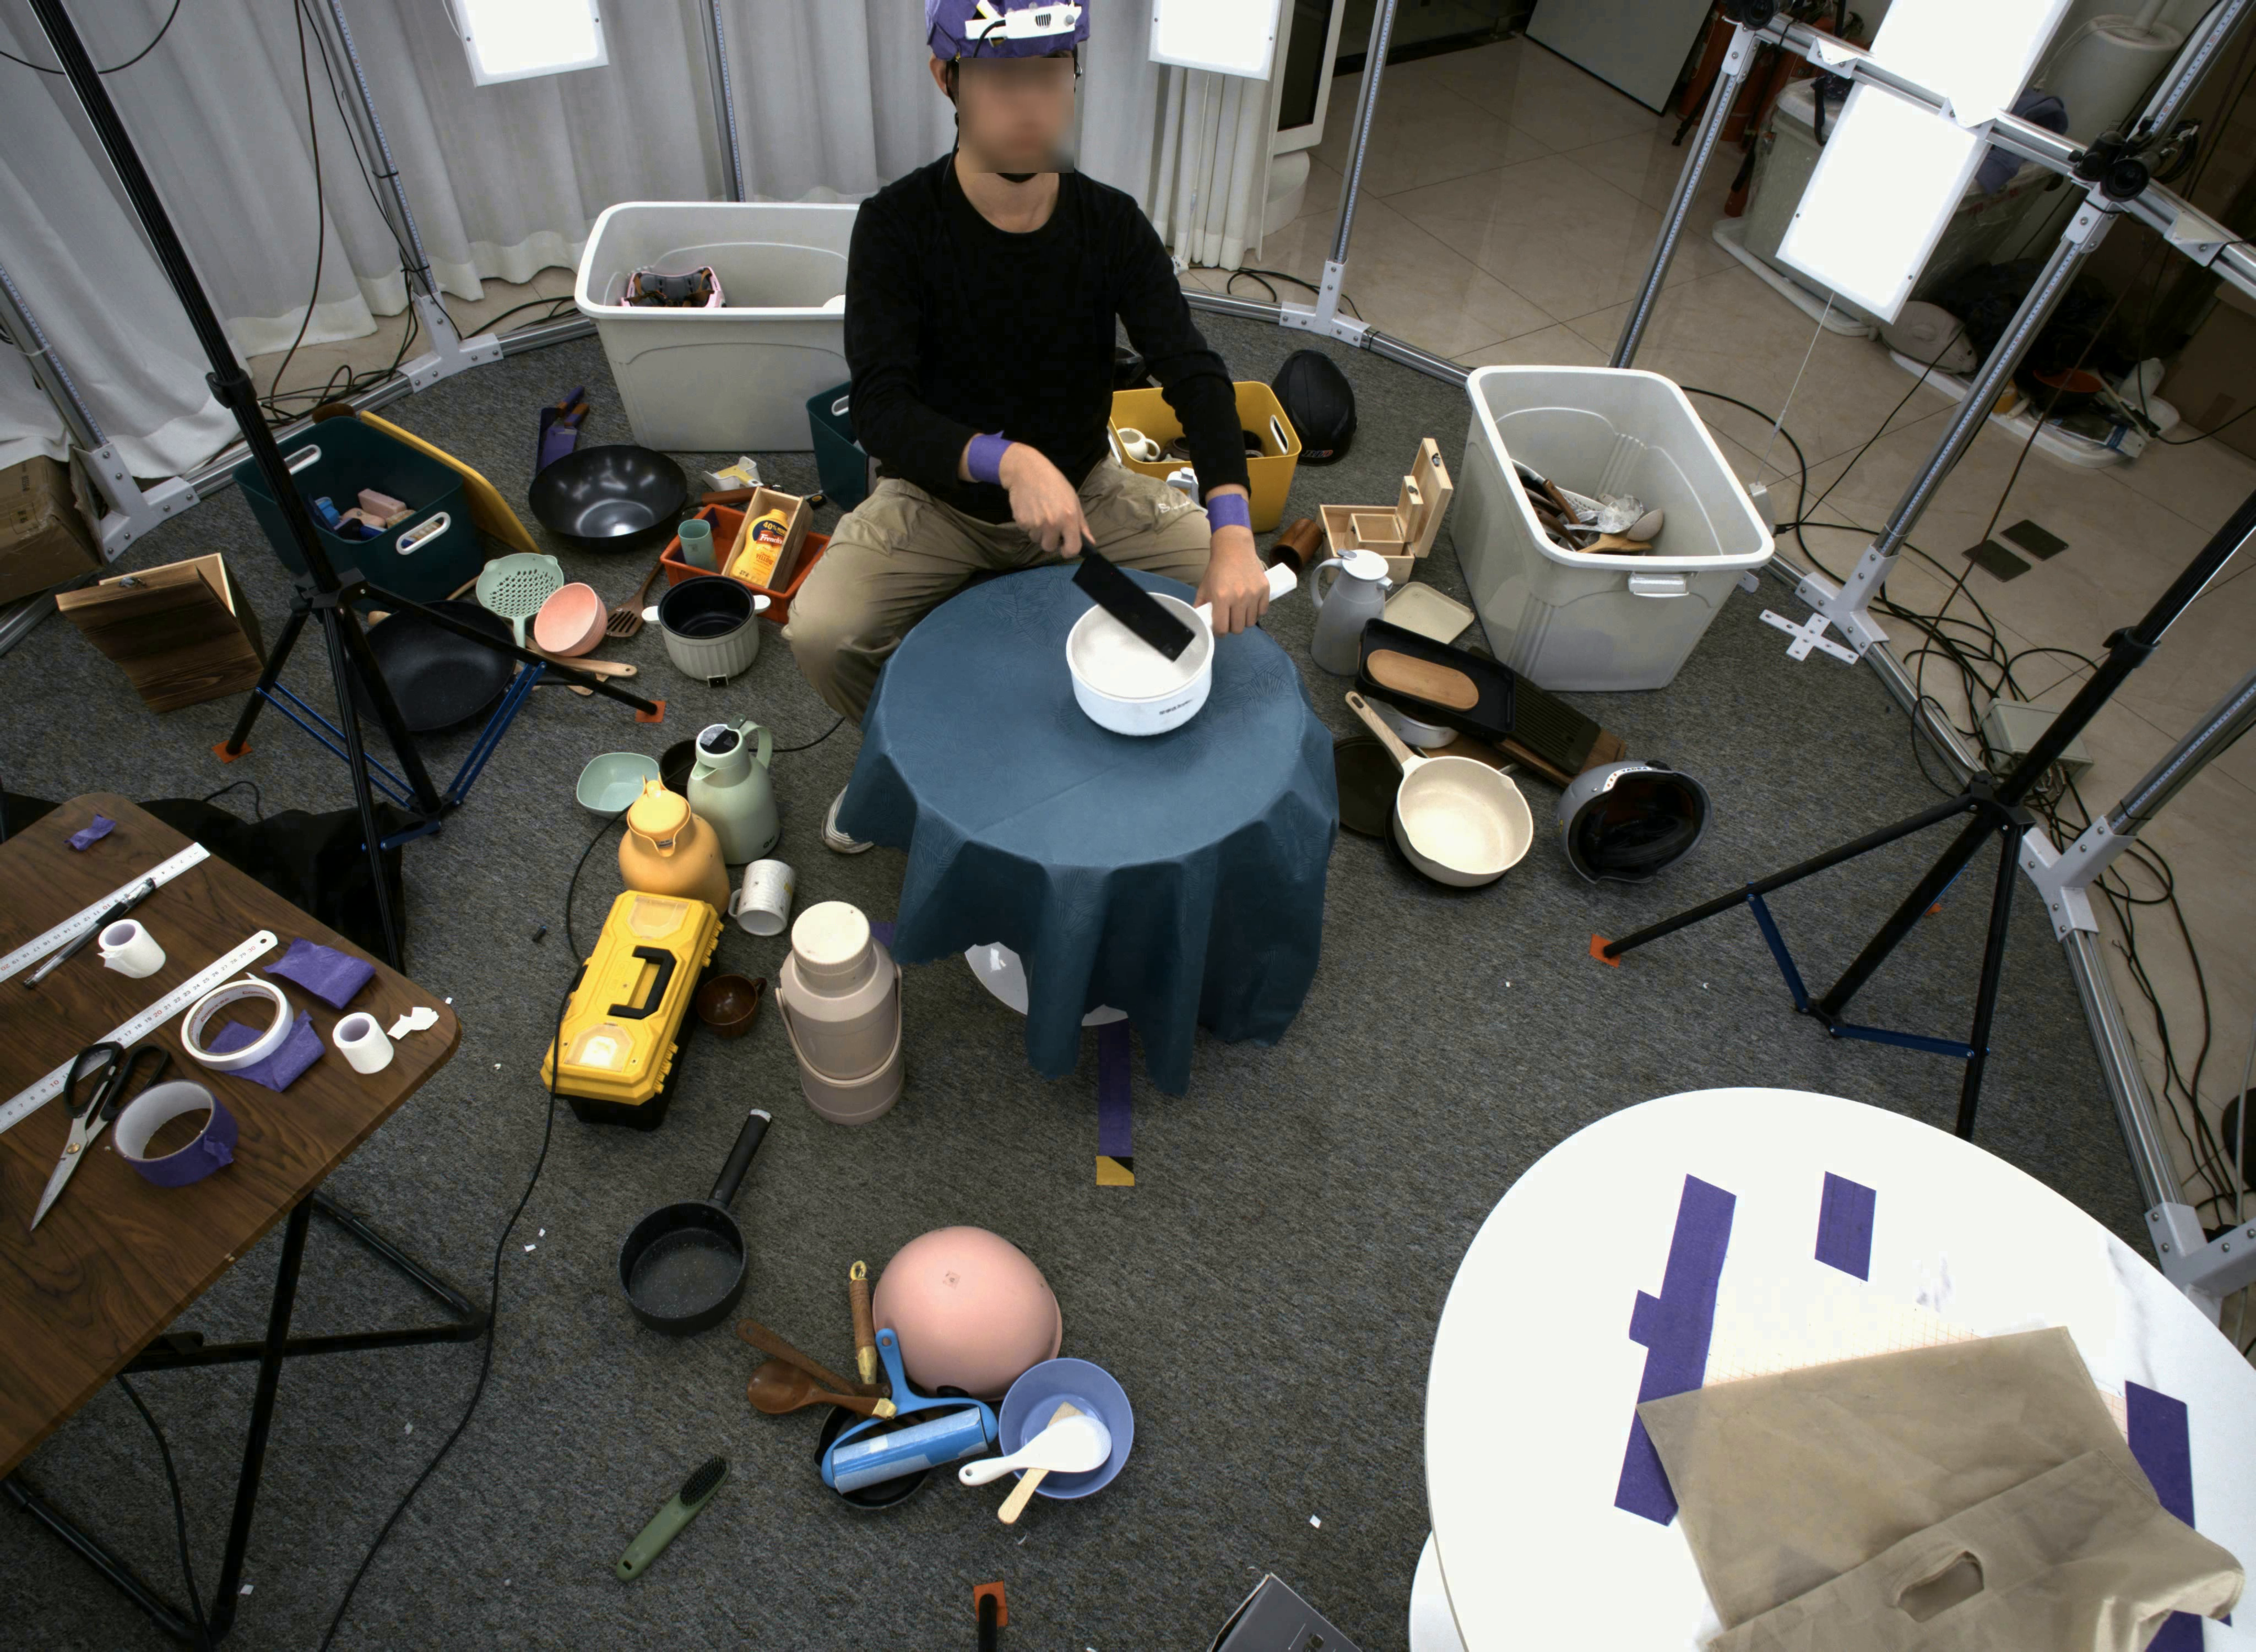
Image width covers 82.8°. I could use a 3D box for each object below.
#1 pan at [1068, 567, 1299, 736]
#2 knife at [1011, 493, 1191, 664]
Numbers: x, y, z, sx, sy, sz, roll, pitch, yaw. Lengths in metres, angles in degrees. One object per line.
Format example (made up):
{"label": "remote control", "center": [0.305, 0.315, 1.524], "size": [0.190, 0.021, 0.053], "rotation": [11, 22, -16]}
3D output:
{"label": "pan", "center": [0.084, -0.255, 1.811], "size": [0.356, 0.099, 0.205], "rotation": [-28, 56, -17]}
{"label": "knife", "center": [-0.040, -0.334, 1.727], "size": [0.302, 0.080, 0.021], "rotation": [44, 43, -2]}
